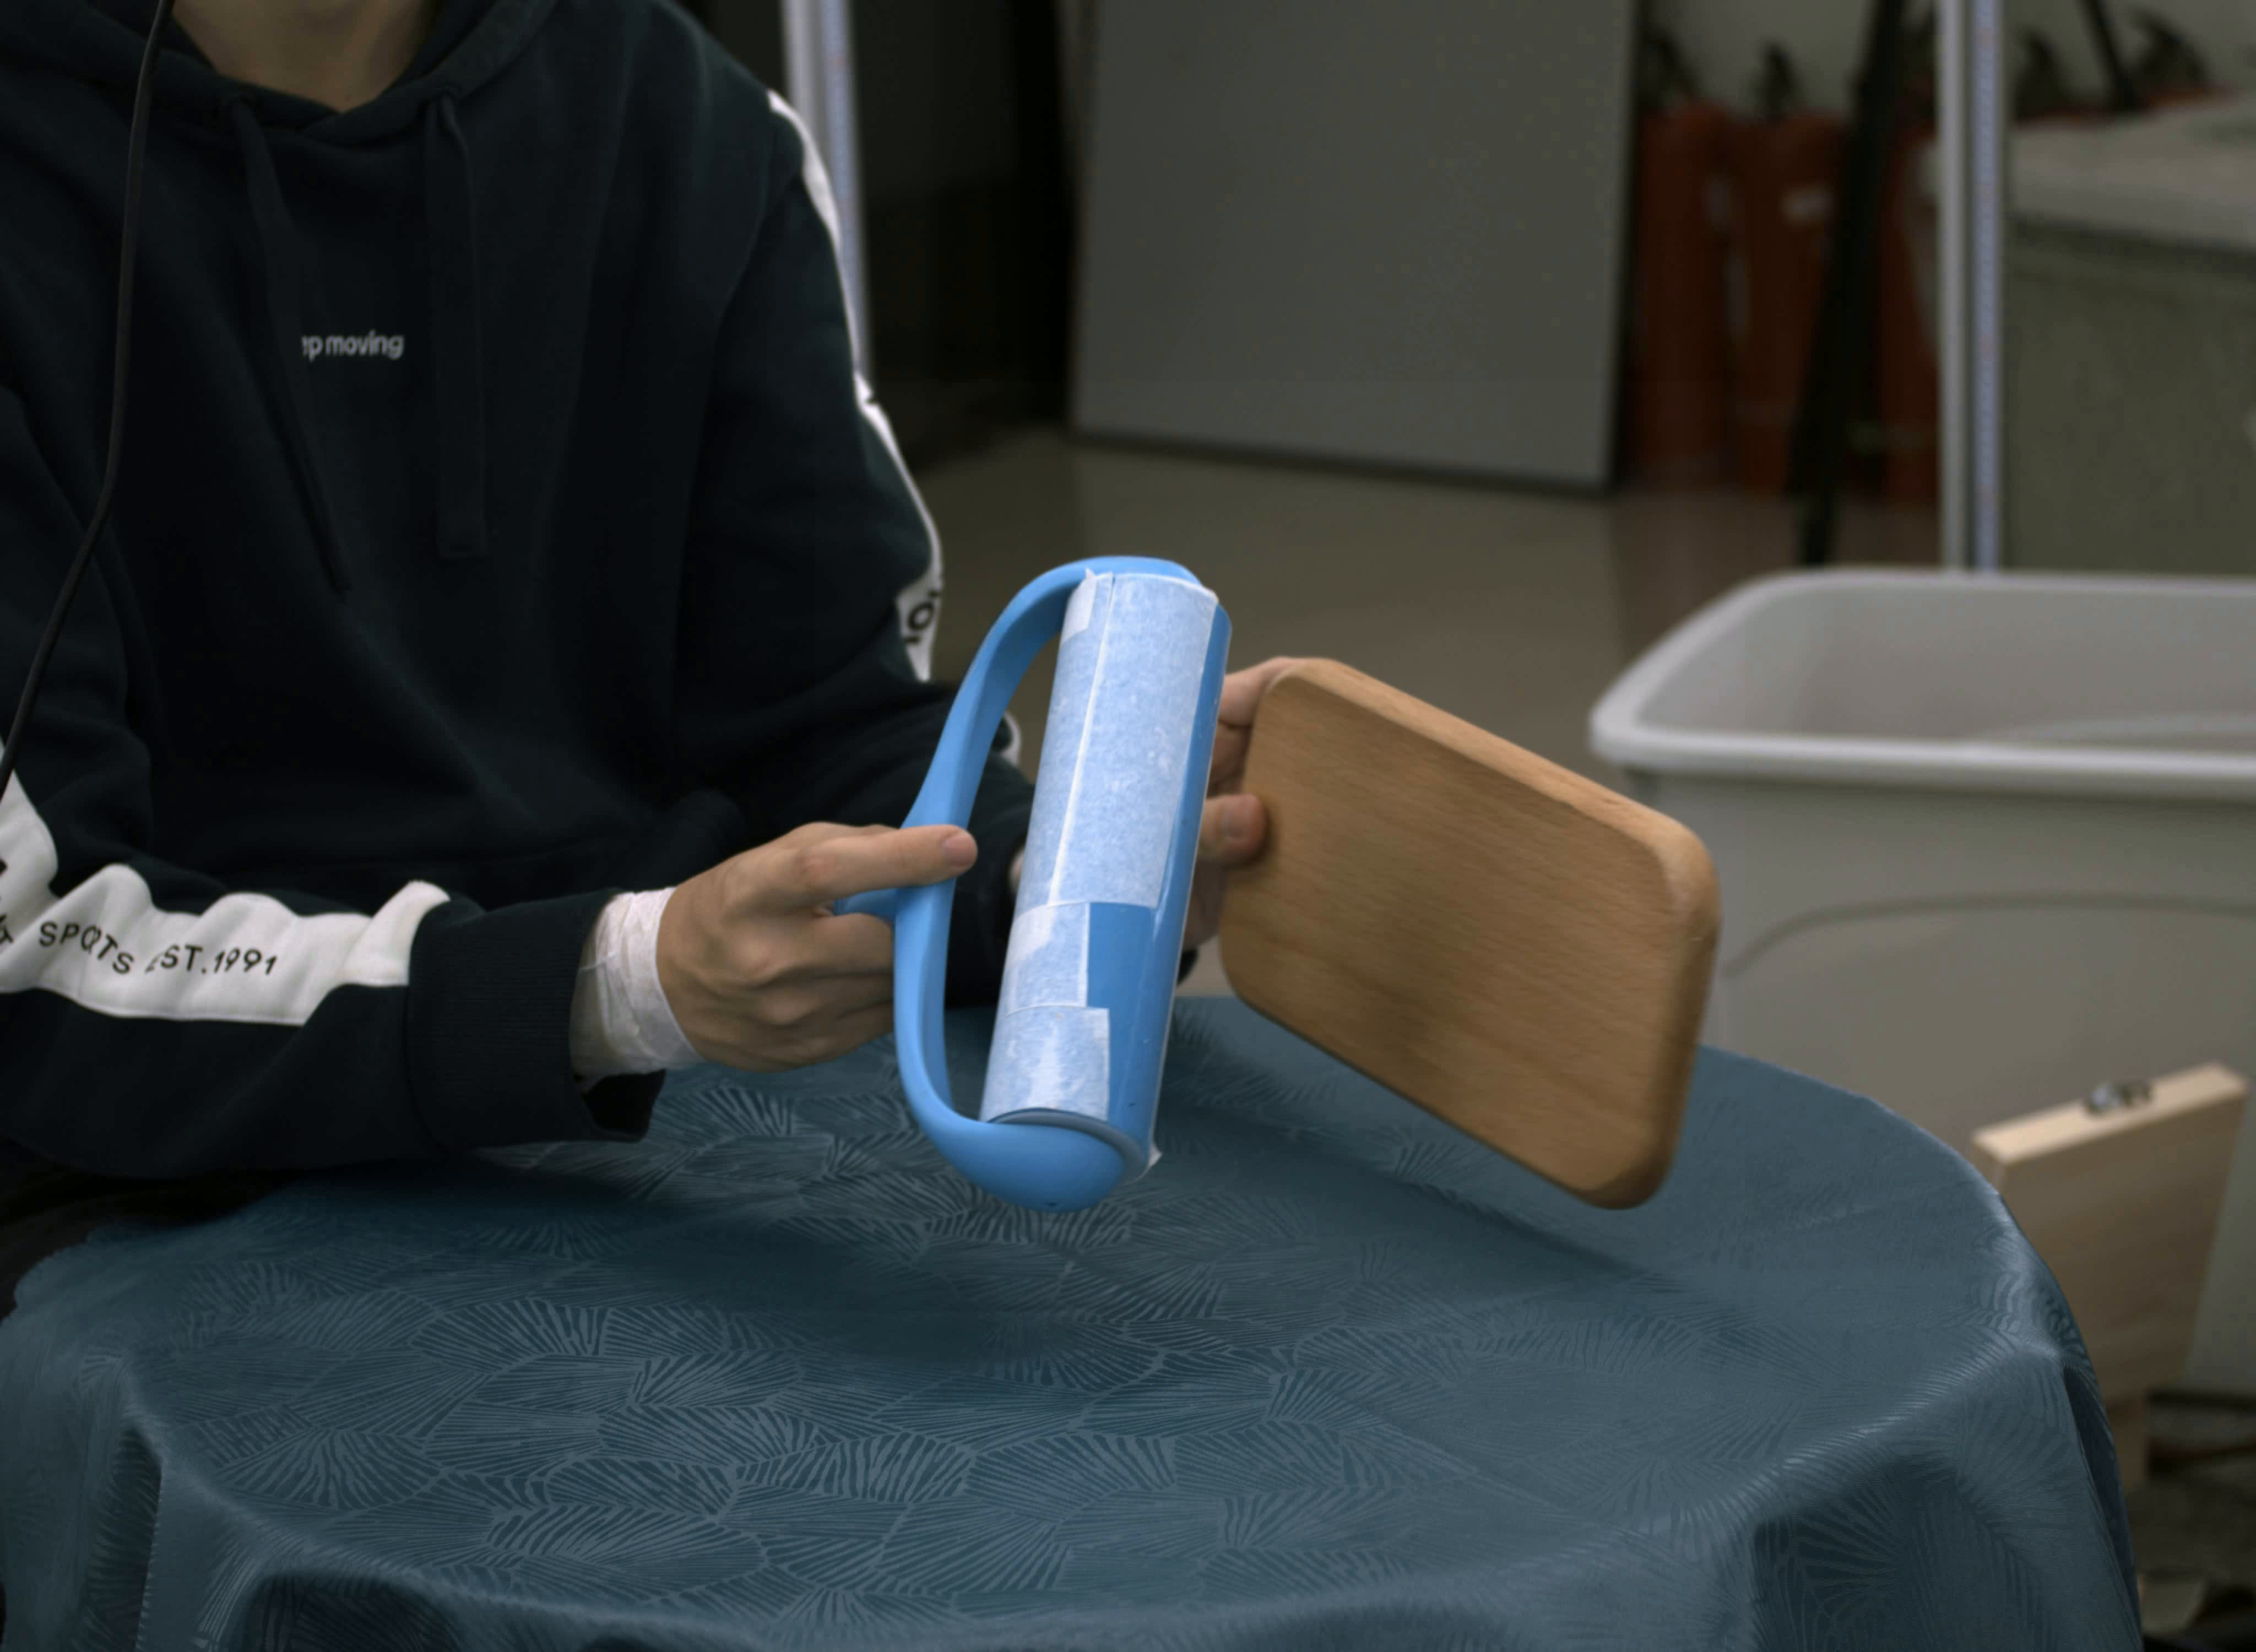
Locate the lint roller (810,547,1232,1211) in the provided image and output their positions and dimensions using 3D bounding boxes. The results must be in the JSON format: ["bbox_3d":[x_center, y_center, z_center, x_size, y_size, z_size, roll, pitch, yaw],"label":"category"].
[{"bbox_3d":[-0.052,0.029,1.708,0.181,0.231,0.067,-20,-39,38],"label":"lint roller"}]

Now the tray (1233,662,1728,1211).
[{"bbox_3d":[0.108,0.032,1.745,0.022,0.132,0.253,1,13,-33],"label":"tray"}]
